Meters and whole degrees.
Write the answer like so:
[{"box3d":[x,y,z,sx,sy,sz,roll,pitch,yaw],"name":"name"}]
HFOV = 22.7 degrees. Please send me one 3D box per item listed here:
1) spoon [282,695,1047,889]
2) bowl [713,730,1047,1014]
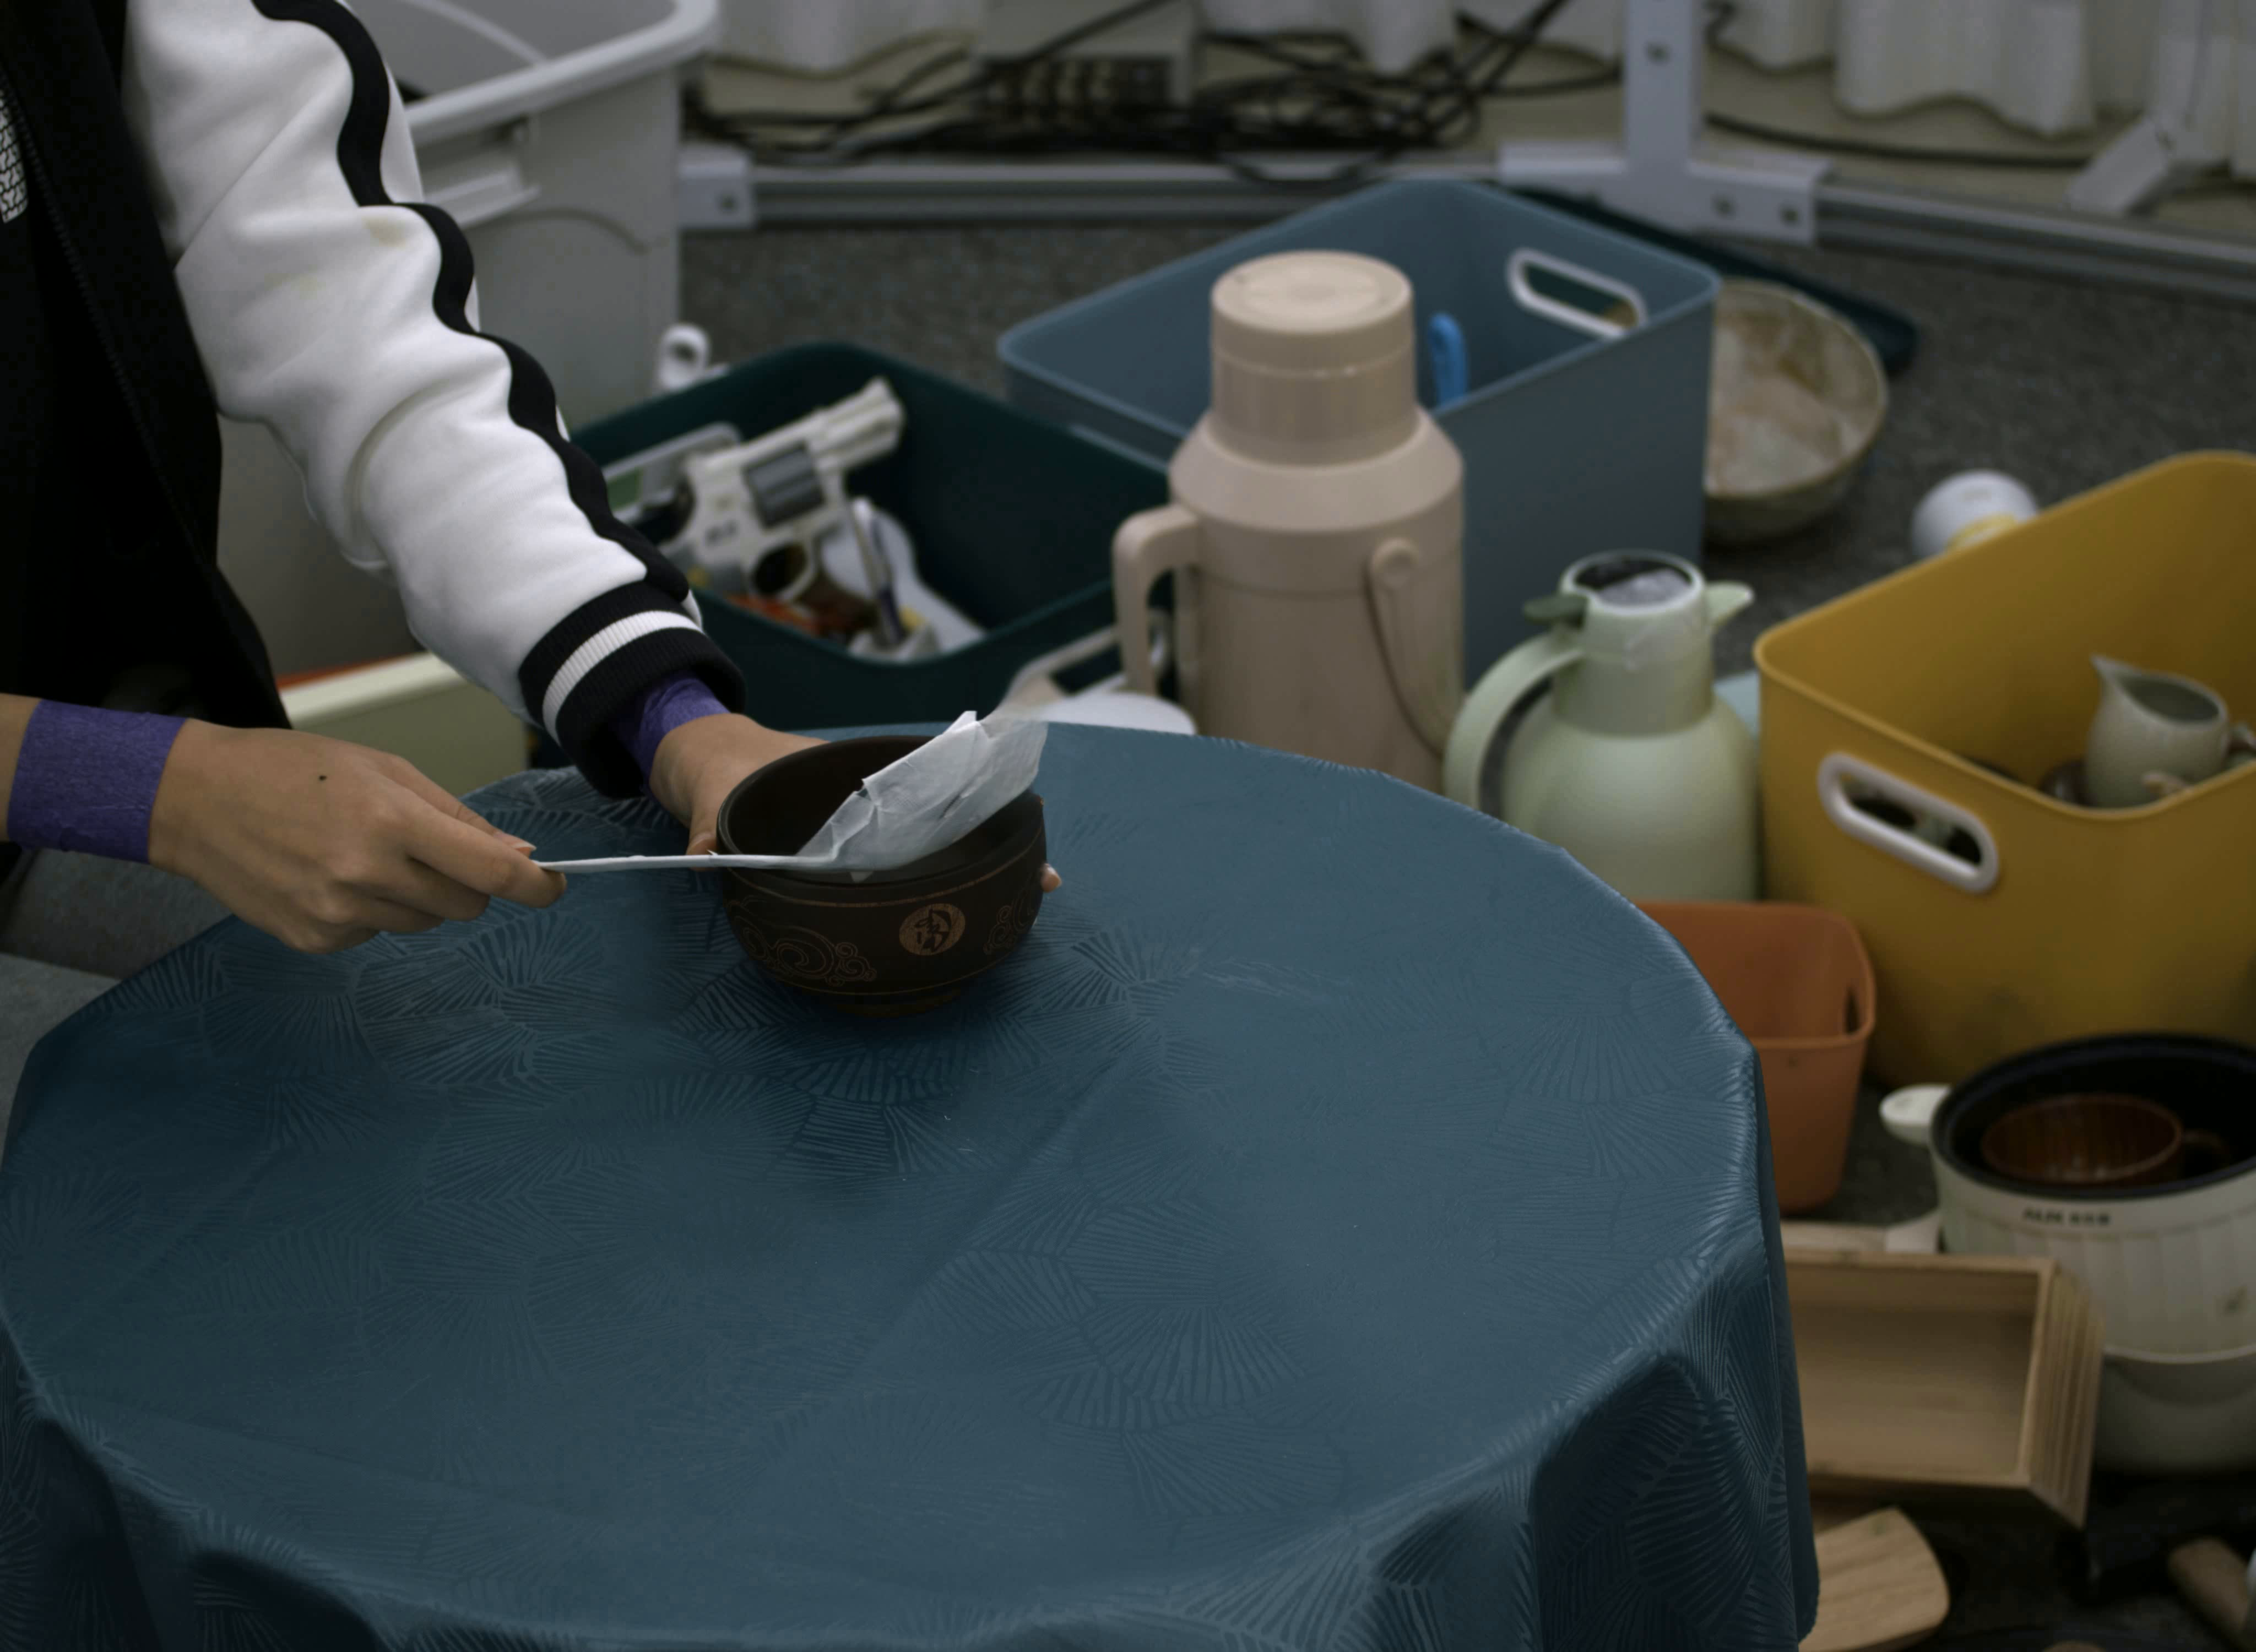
[{"box3d":[-0.162,-0.010,1.949,0.275,0.060,0.100,-2,-15,16],"name":"spoon"},{"box3d":[-0.086,0.023,1.982,0.117,0.069,0.120,-2,27,1],"name":"bowl"}]
